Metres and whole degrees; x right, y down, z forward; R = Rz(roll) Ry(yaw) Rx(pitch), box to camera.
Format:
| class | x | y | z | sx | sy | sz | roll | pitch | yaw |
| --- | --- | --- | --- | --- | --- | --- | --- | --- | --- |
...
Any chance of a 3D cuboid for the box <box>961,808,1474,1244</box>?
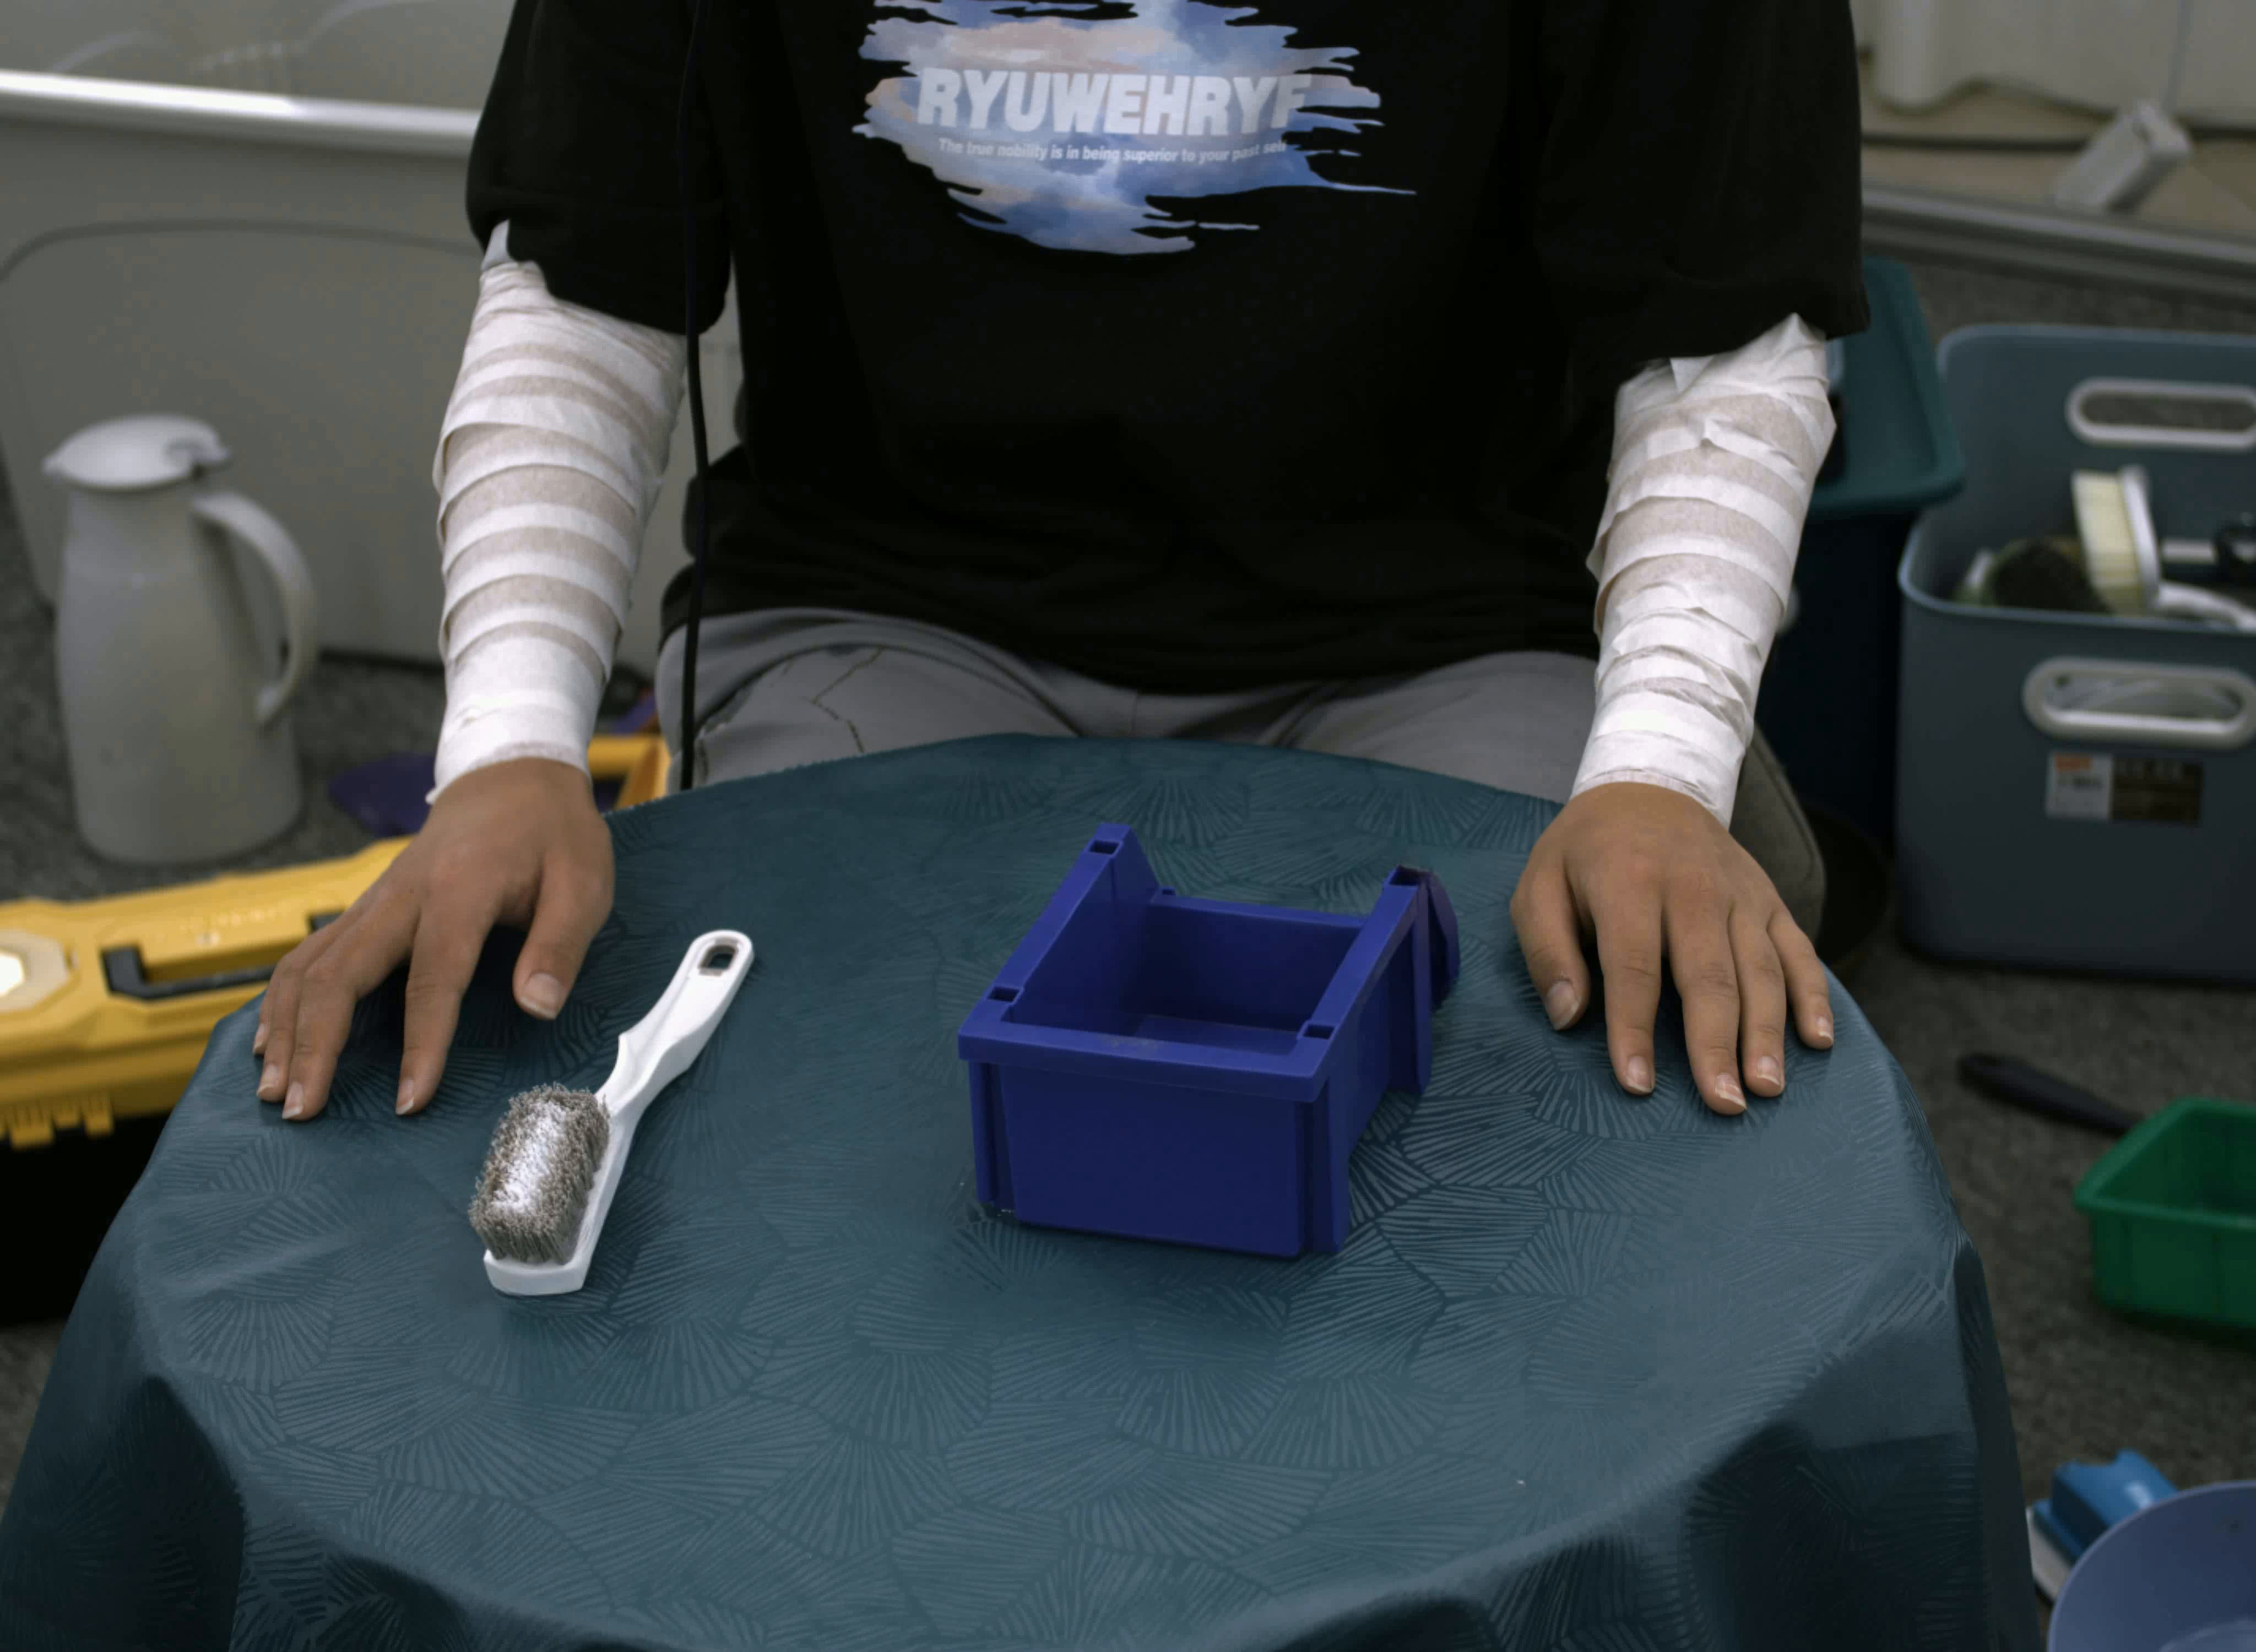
| class | x | y | z | sx | sy | sz | roll | pitch | yaw |
| --- | --- | --- | --- | --- | --- | --- | --- | --- | --- |
| box | 0.031 | 0.062 | 1.888 | 0.123 | 0.081 | 0.182 | 6 | 30 | 18 |

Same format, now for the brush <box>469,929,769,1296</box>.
| class | x | y | z | sx | sy | sz | roll | pitch | yaw |
| --- | --- | --- | --- | --- | --- | --- | --- | --- | --- |
| brush | -0.169 | 0.080 | 1.905 | 0.034 | 0.050 | 0.248 | 4 | 28 | 14 |
